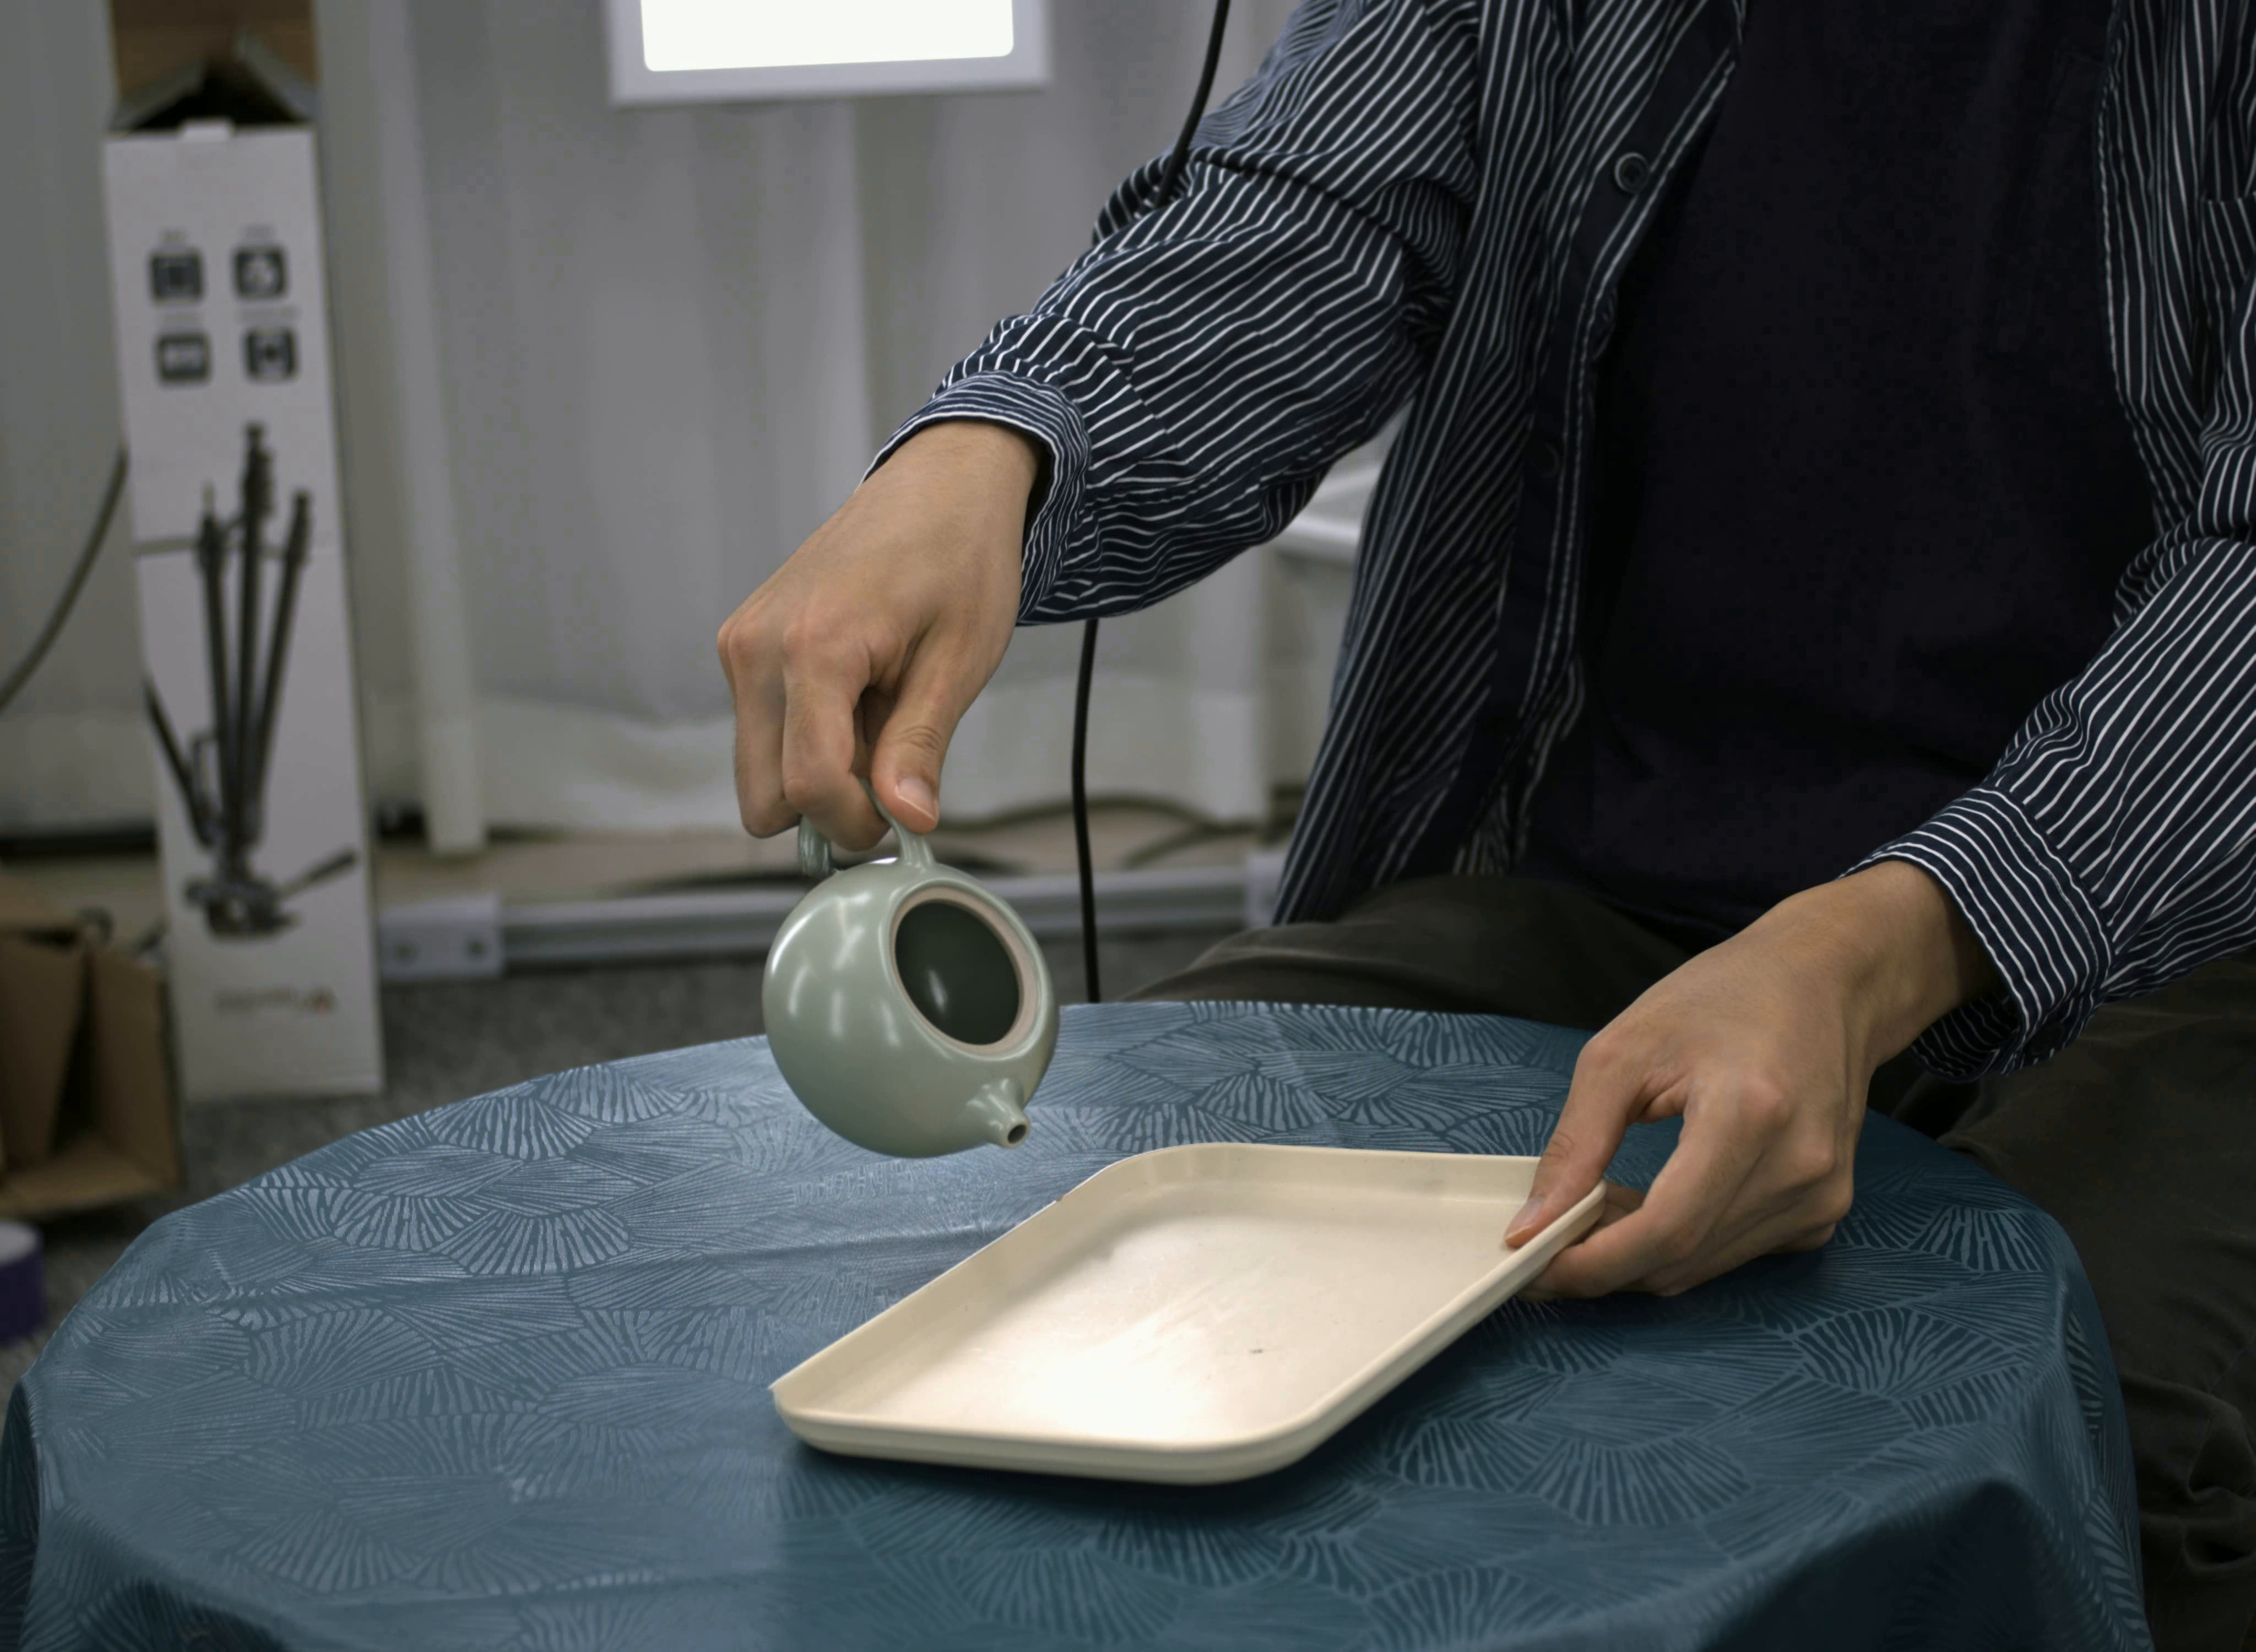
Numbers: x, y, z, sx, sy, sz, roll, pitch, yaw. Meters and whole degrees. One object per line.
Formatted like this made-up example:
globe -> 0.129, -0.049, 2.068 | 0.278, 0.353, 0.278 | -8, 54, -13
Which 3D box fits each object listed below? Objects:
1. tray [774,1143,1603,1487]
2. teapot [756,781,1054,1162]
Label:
tray -> 0.022, 0.139, 1.565 | 0.171, 0.017, 0.240 | 1, 16, 30
teapot -> -0.070, 0.047, 1.632 | 0.091, 0.130, 0.060 | 2, -29, -40
